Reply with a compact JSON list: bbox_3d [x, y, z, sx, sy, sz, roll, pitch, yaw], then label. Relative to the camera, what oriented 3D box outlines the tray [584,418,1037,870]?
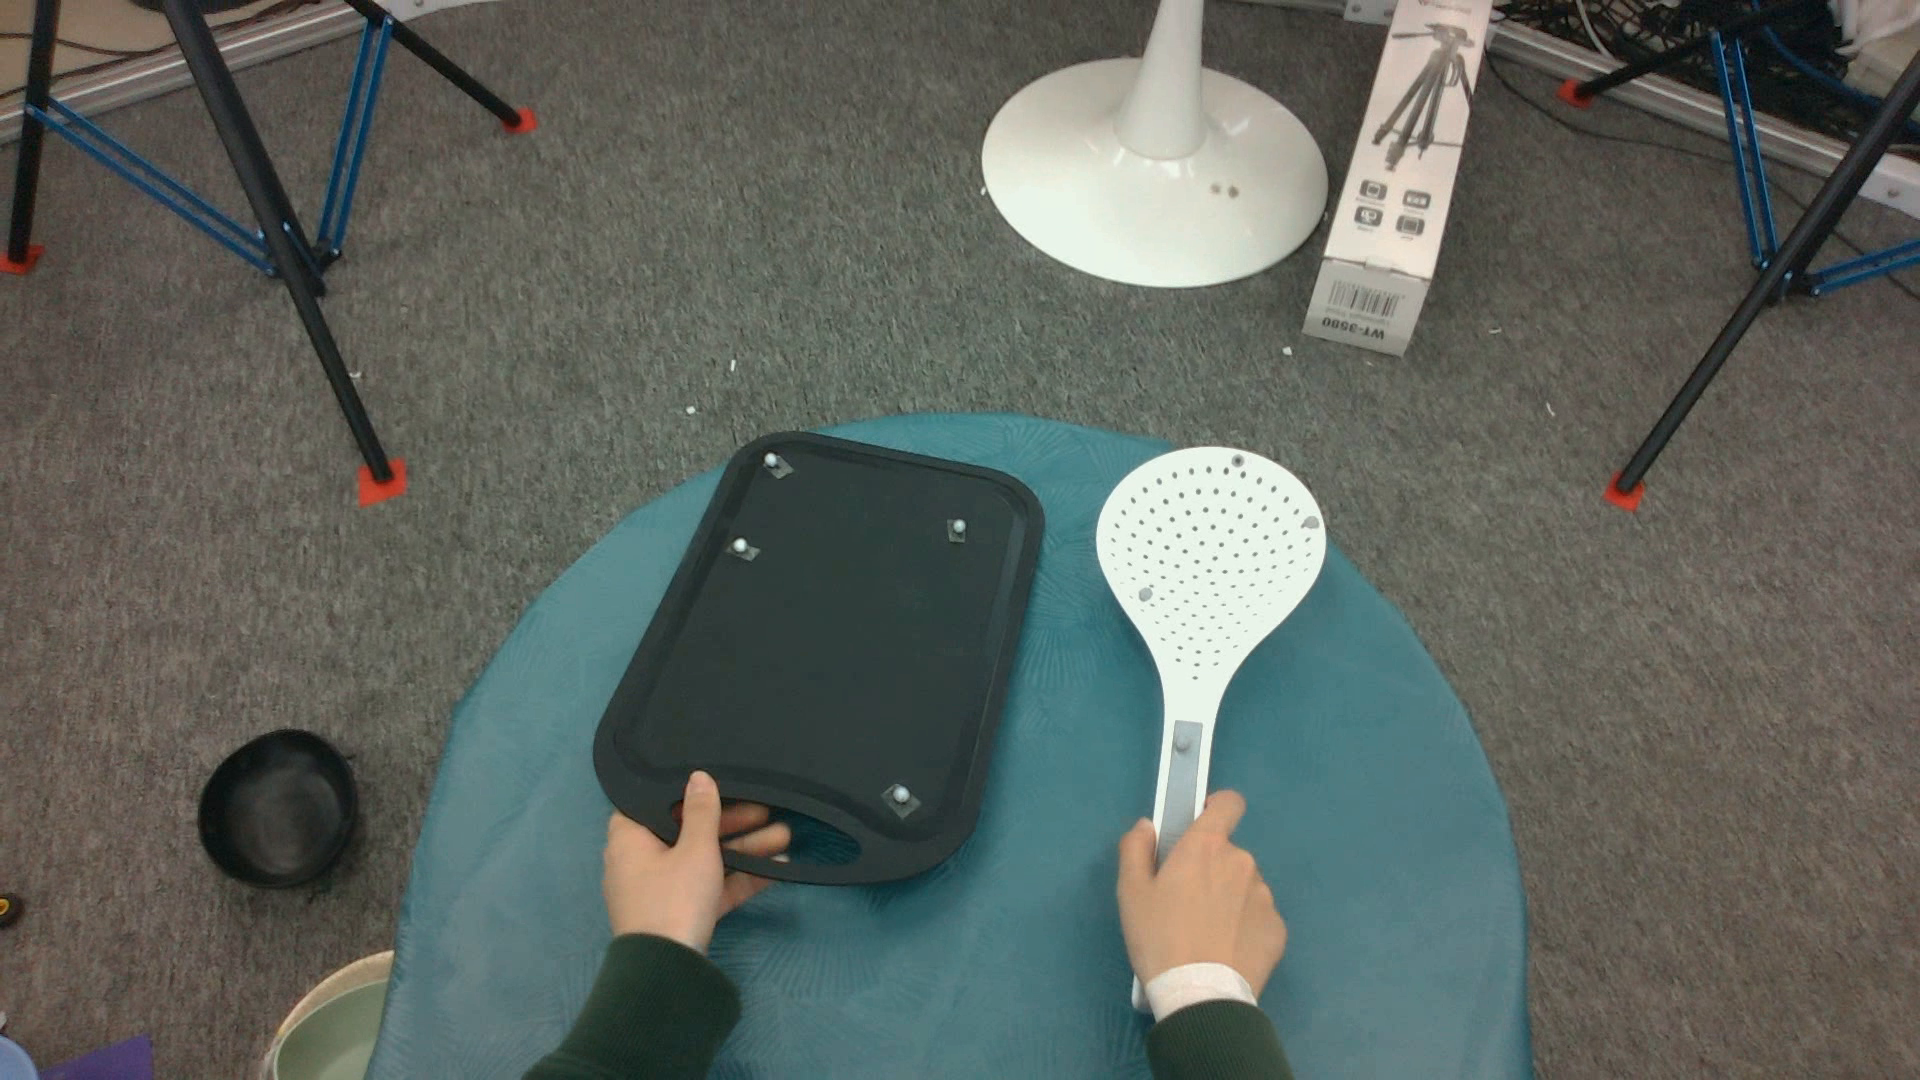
[{"bbox_3d":[-0.077,0.045,0.799,0.211,0.010,0.327,12,47,5],"label":"tray"}]

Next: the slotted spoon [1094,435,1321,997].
[{"bbox_3d":[0.128,0.082,0.780,0.136,0.045,0.351,5,51,14],"label":"slotted spoon"}]
